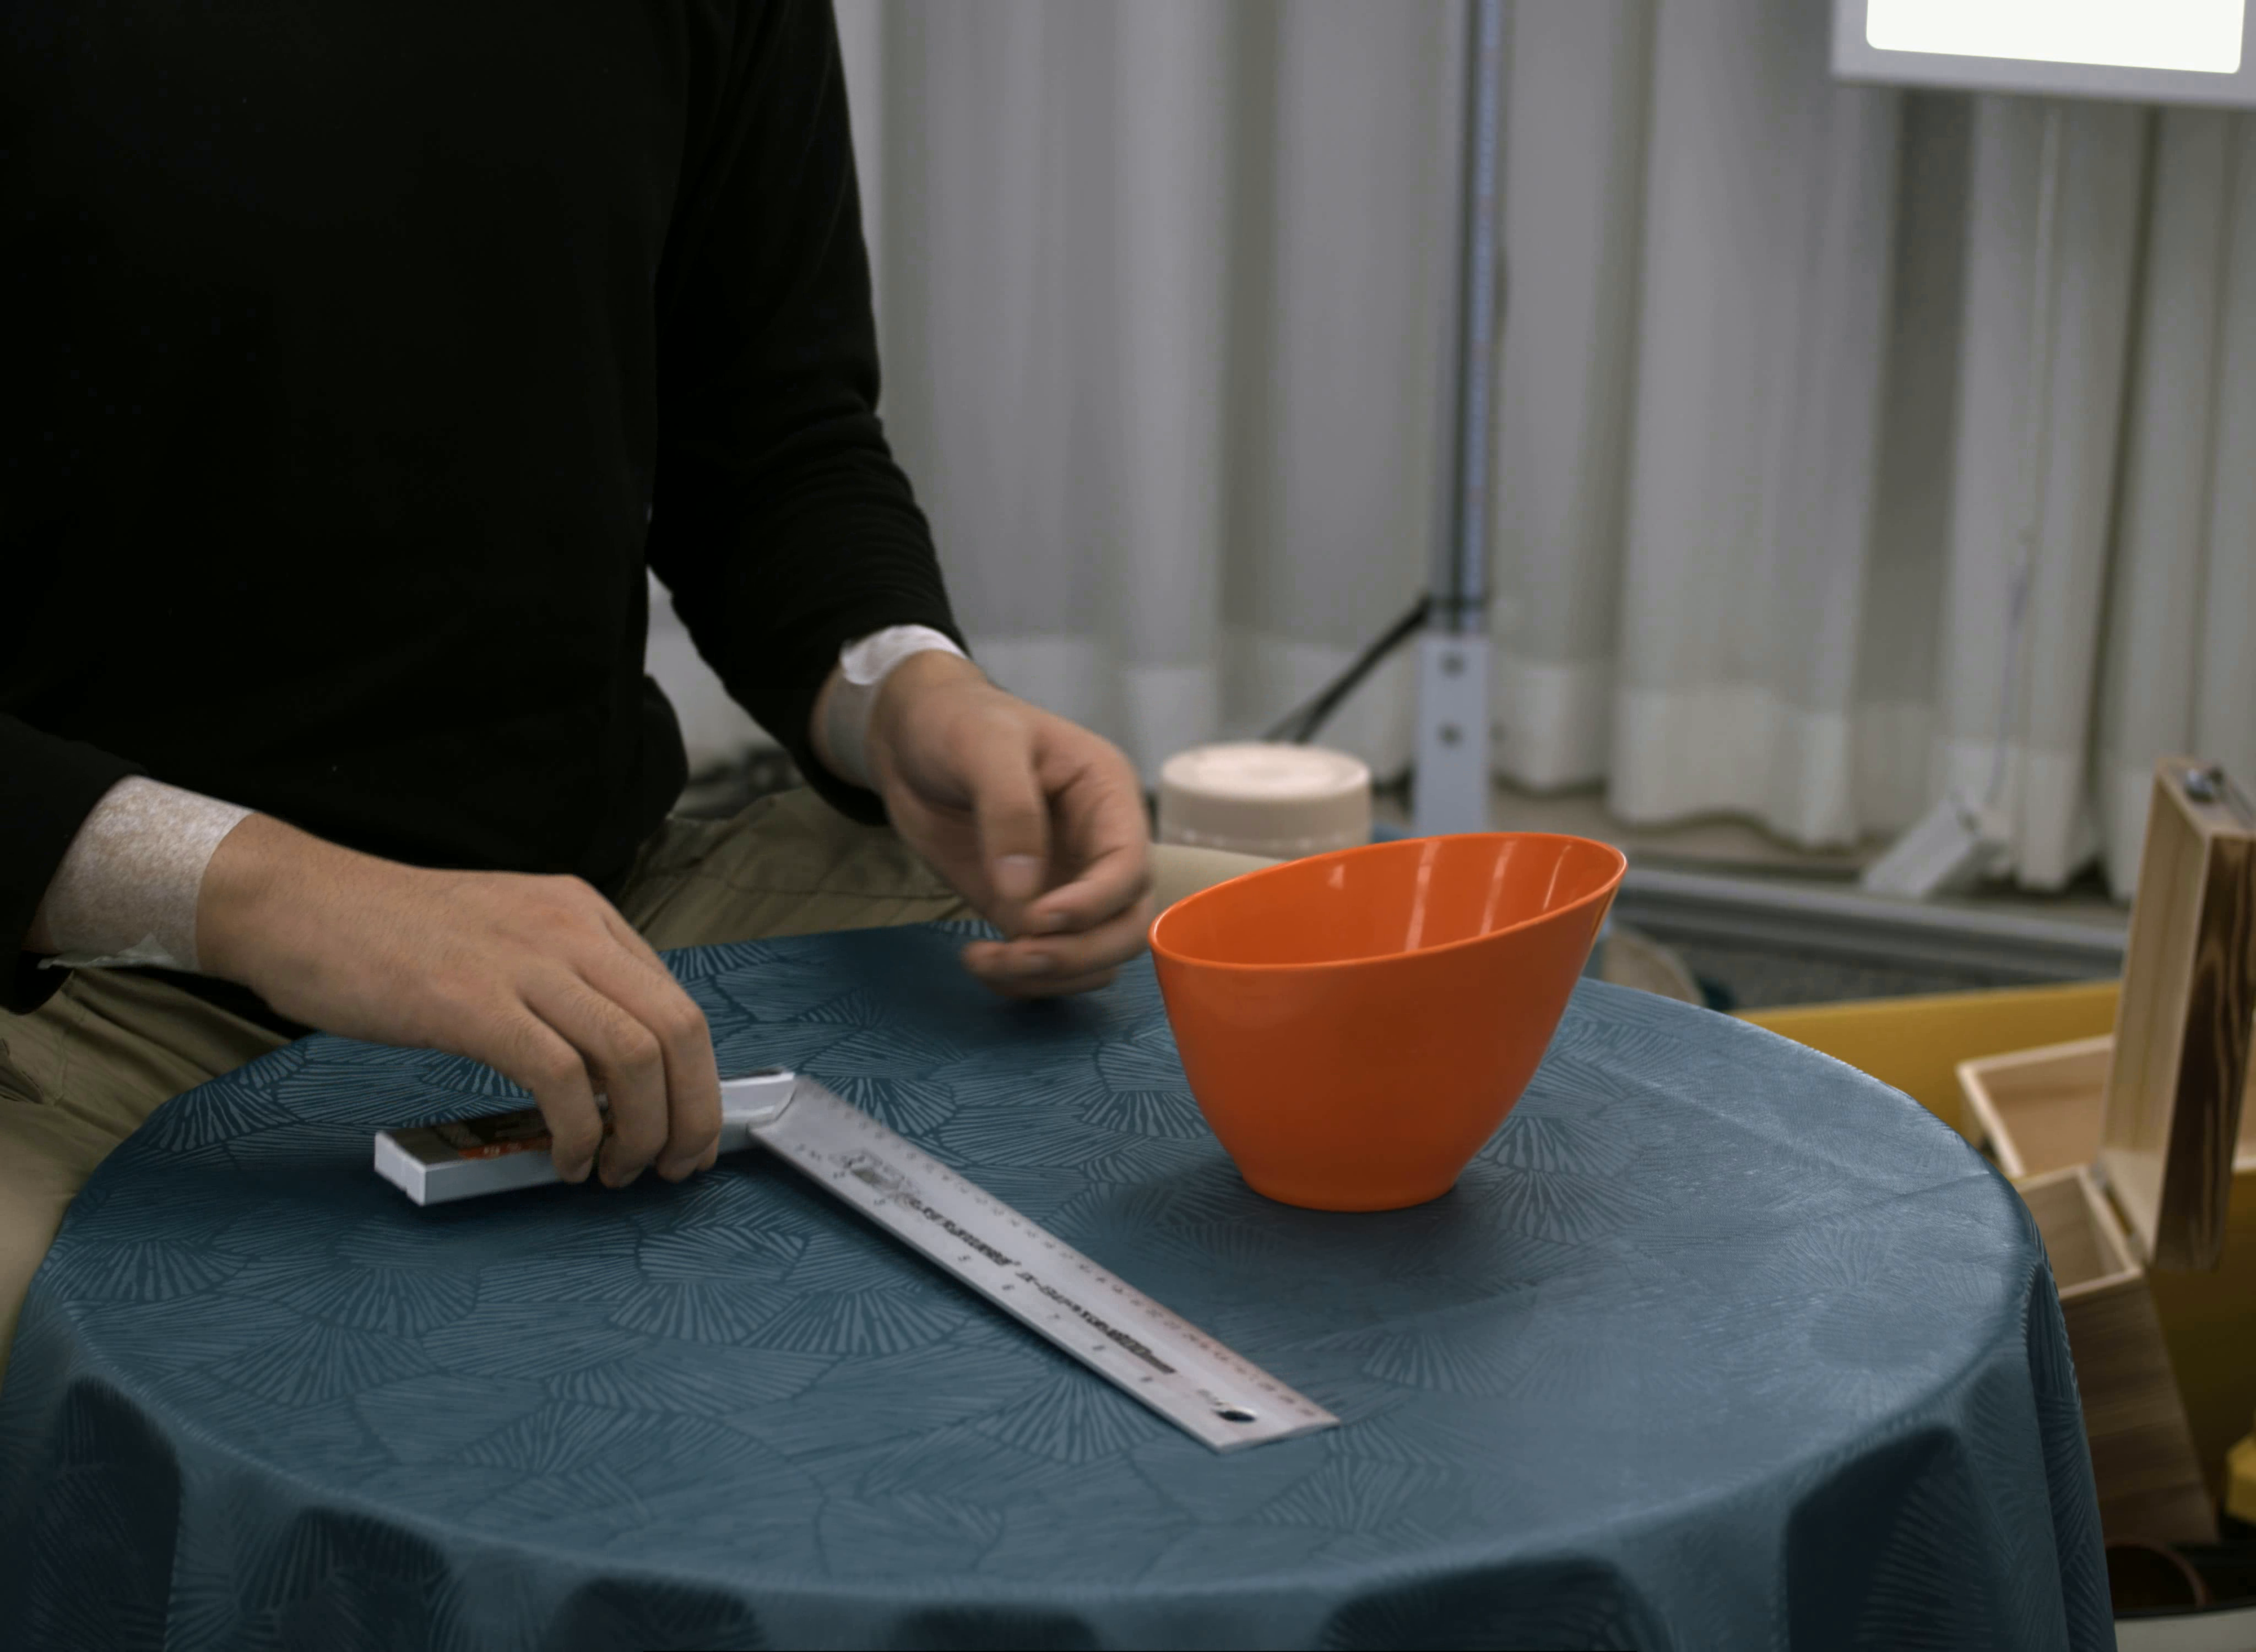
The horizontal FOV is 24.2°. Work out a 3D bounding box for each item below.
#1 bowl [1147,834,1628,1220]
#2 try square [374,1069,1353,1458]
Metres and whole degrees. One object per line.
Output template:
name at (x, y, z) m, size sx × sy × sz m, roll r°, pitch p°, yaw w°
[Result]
bowl at (0.079, 0.062, 1.616) m, size 0.147 × 0.105 × 0.147 m, roll -1°, pitch 16°, yaw 1°
try square at (-0.085, 0.135, 1.522) m, size 0.153 × 0.016 × 0.308 m, roll -13°, pitch 22°, yaw -30°
